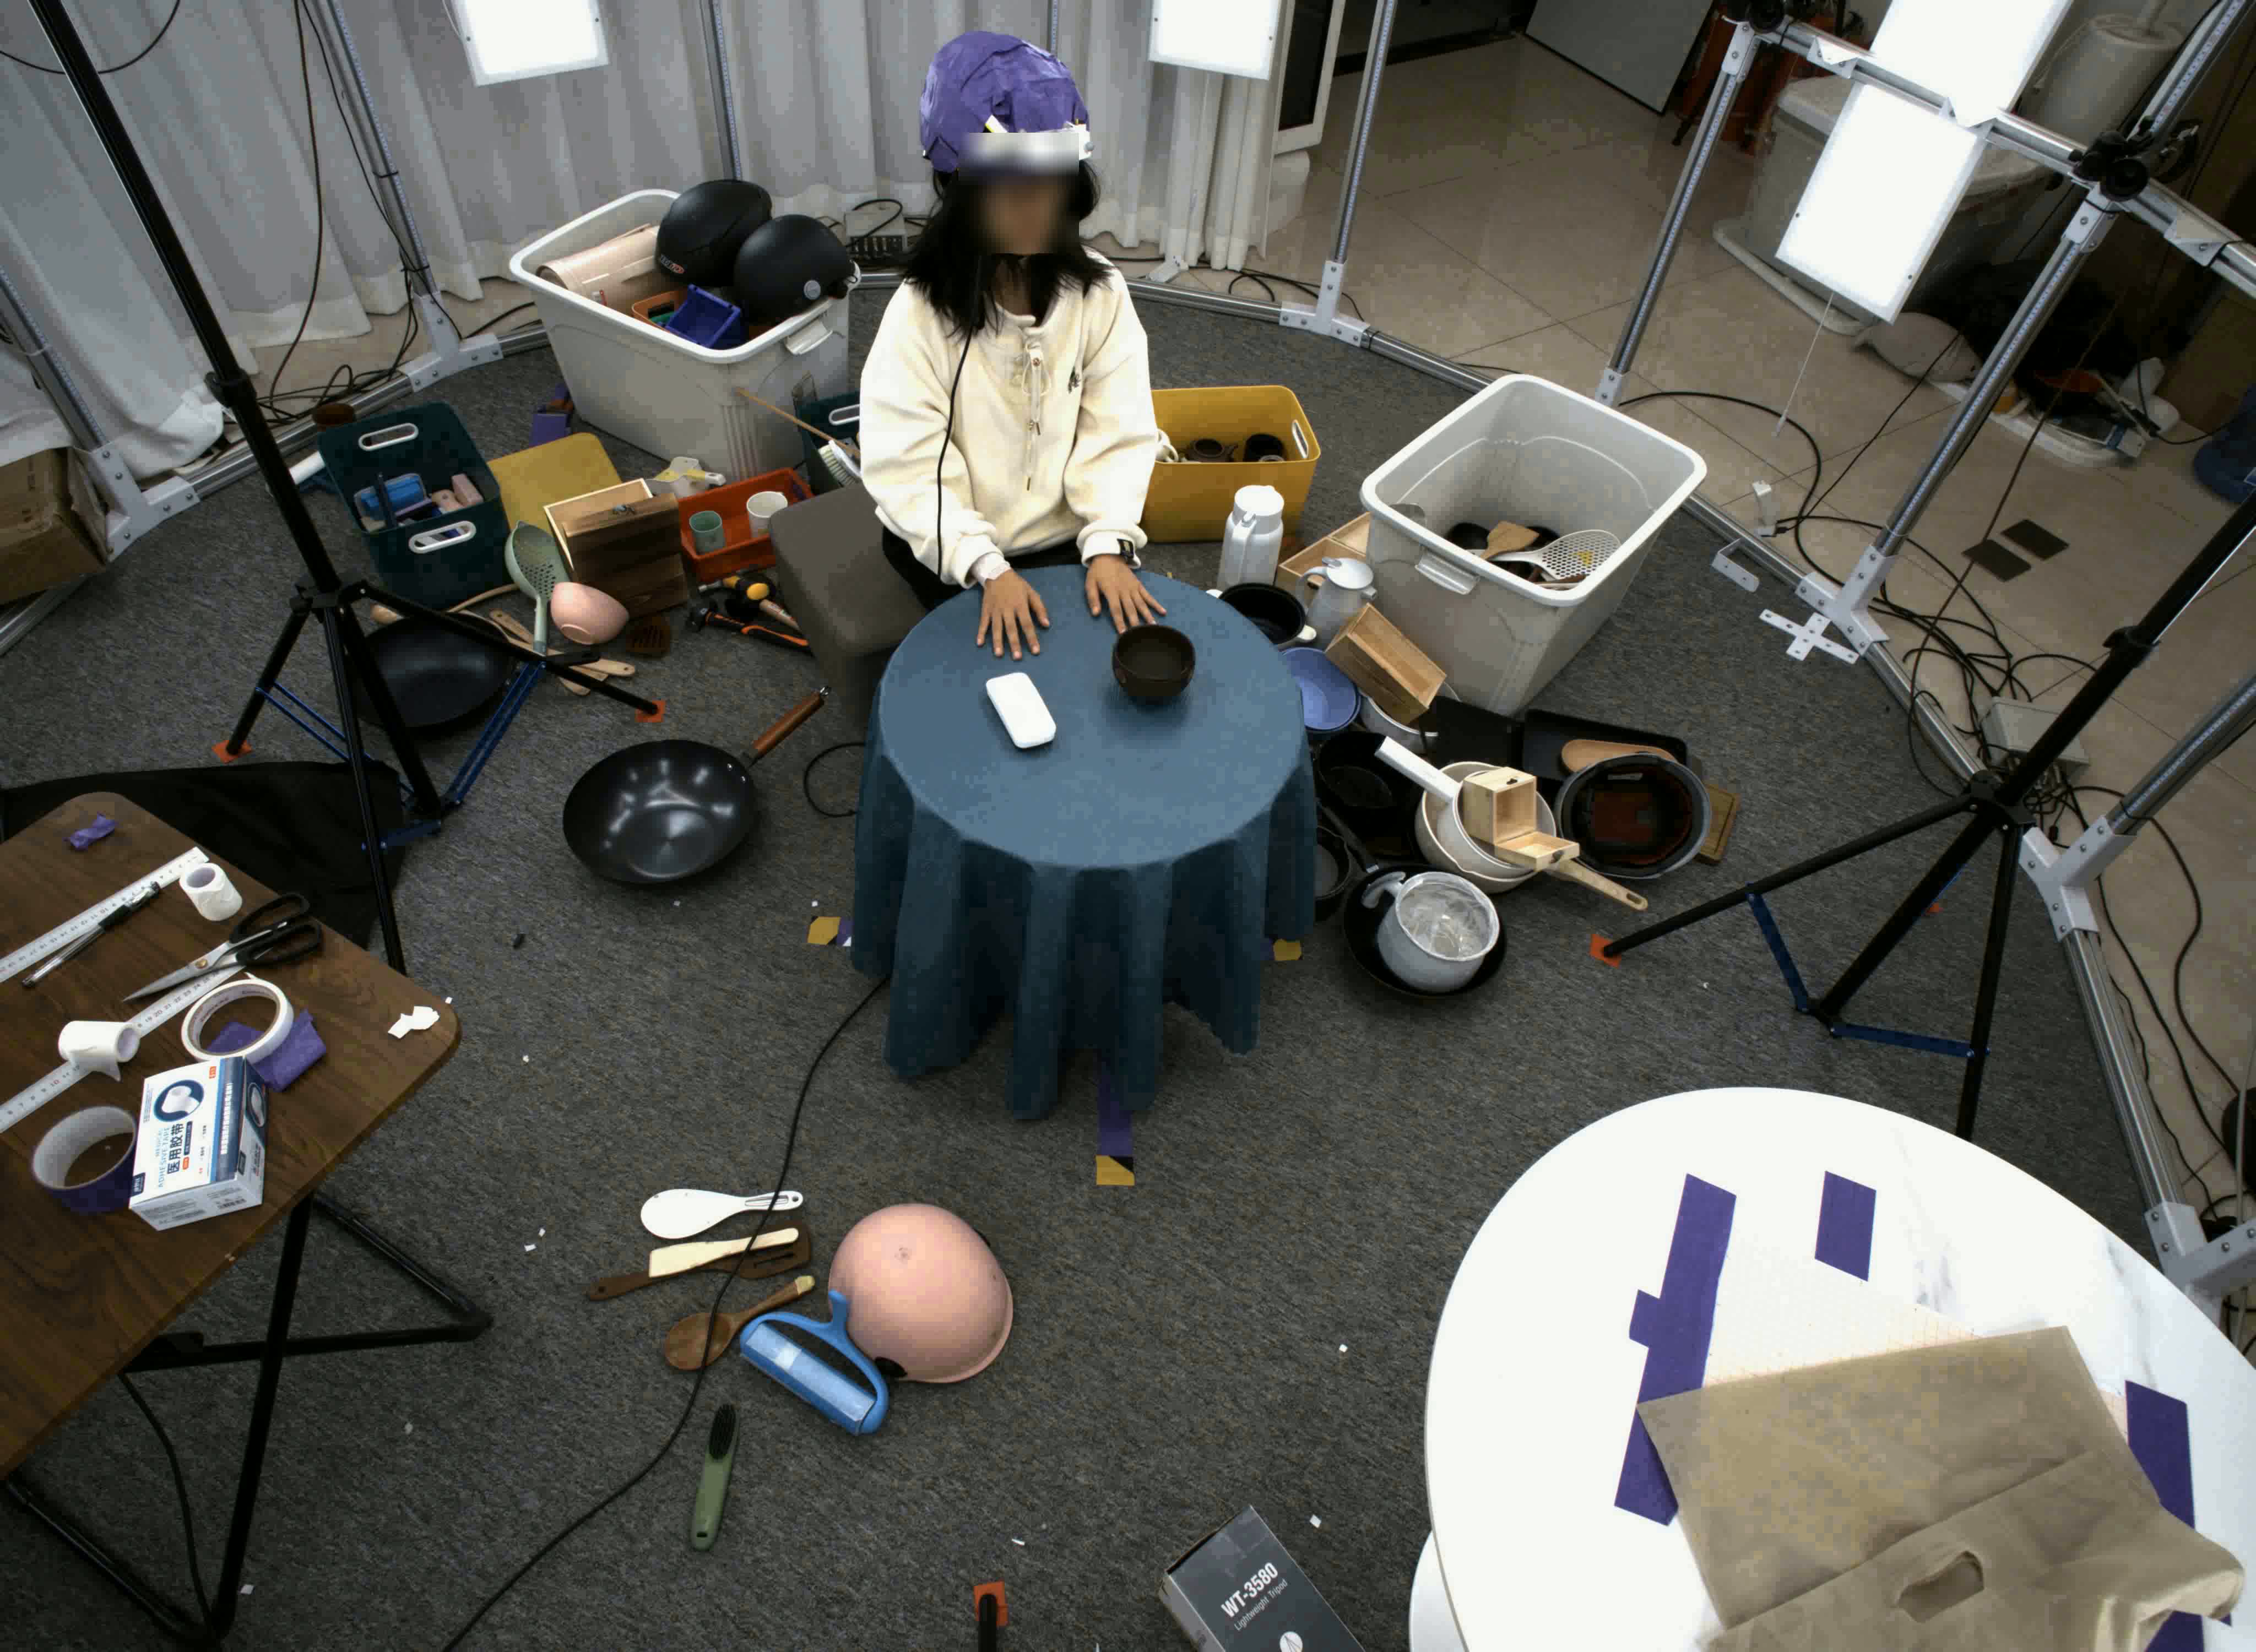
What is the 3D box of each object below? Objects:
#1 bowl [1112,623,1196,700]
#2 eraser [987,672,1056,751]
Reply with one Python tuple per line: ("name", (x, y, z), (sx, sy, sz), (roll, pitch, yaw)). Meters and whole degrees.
("bowl", (0.035, -0.225, 1.821), (0.118, 0.068, 0.121), (3, 48, -3))
("eraser", (-0.148, -0.162, 1.781), (0.063, 0.034, 0.134), (-16, 53, -17))
